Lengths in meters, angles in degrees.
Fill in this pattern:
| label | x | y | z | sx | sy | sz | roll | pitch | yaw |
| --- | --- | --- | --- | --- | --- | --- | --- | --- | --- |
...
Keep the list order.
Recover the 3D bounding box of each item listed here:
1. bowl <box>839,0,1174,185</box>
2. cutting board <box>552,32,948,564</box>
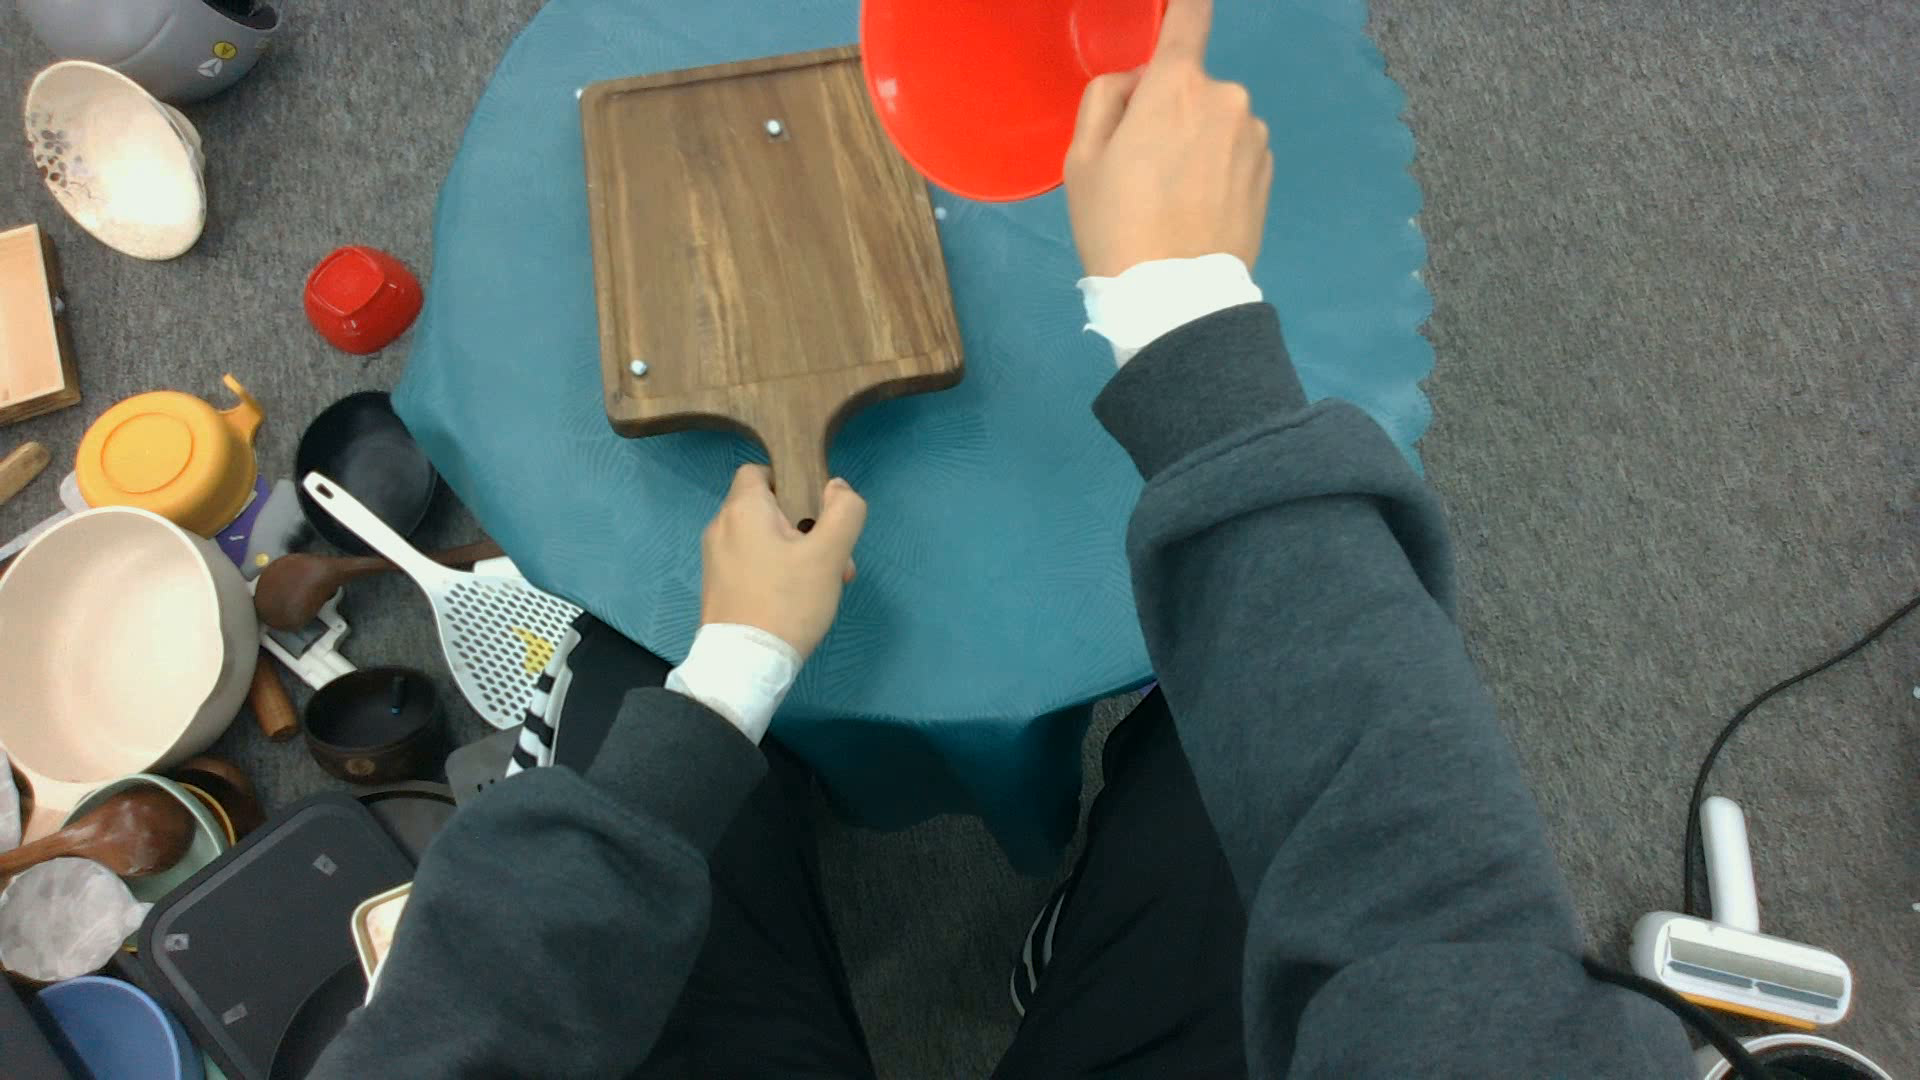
| label | x | y | z | sx | sy | sz | roll | pitch | yaw |
| --- | --- | --- | --- | --- | --- | --- | --- | --- | --- |
| bowl | 0.033 | -0.242 | 0.633 | 0.105 | 0.147 | 0.148 | -21 | 69 | -46 |
| cutting board | -0.117 | -0.145 | 0.774 | 0.201 | 0.023 | 0.353 | -10 | 63 | -5 |
